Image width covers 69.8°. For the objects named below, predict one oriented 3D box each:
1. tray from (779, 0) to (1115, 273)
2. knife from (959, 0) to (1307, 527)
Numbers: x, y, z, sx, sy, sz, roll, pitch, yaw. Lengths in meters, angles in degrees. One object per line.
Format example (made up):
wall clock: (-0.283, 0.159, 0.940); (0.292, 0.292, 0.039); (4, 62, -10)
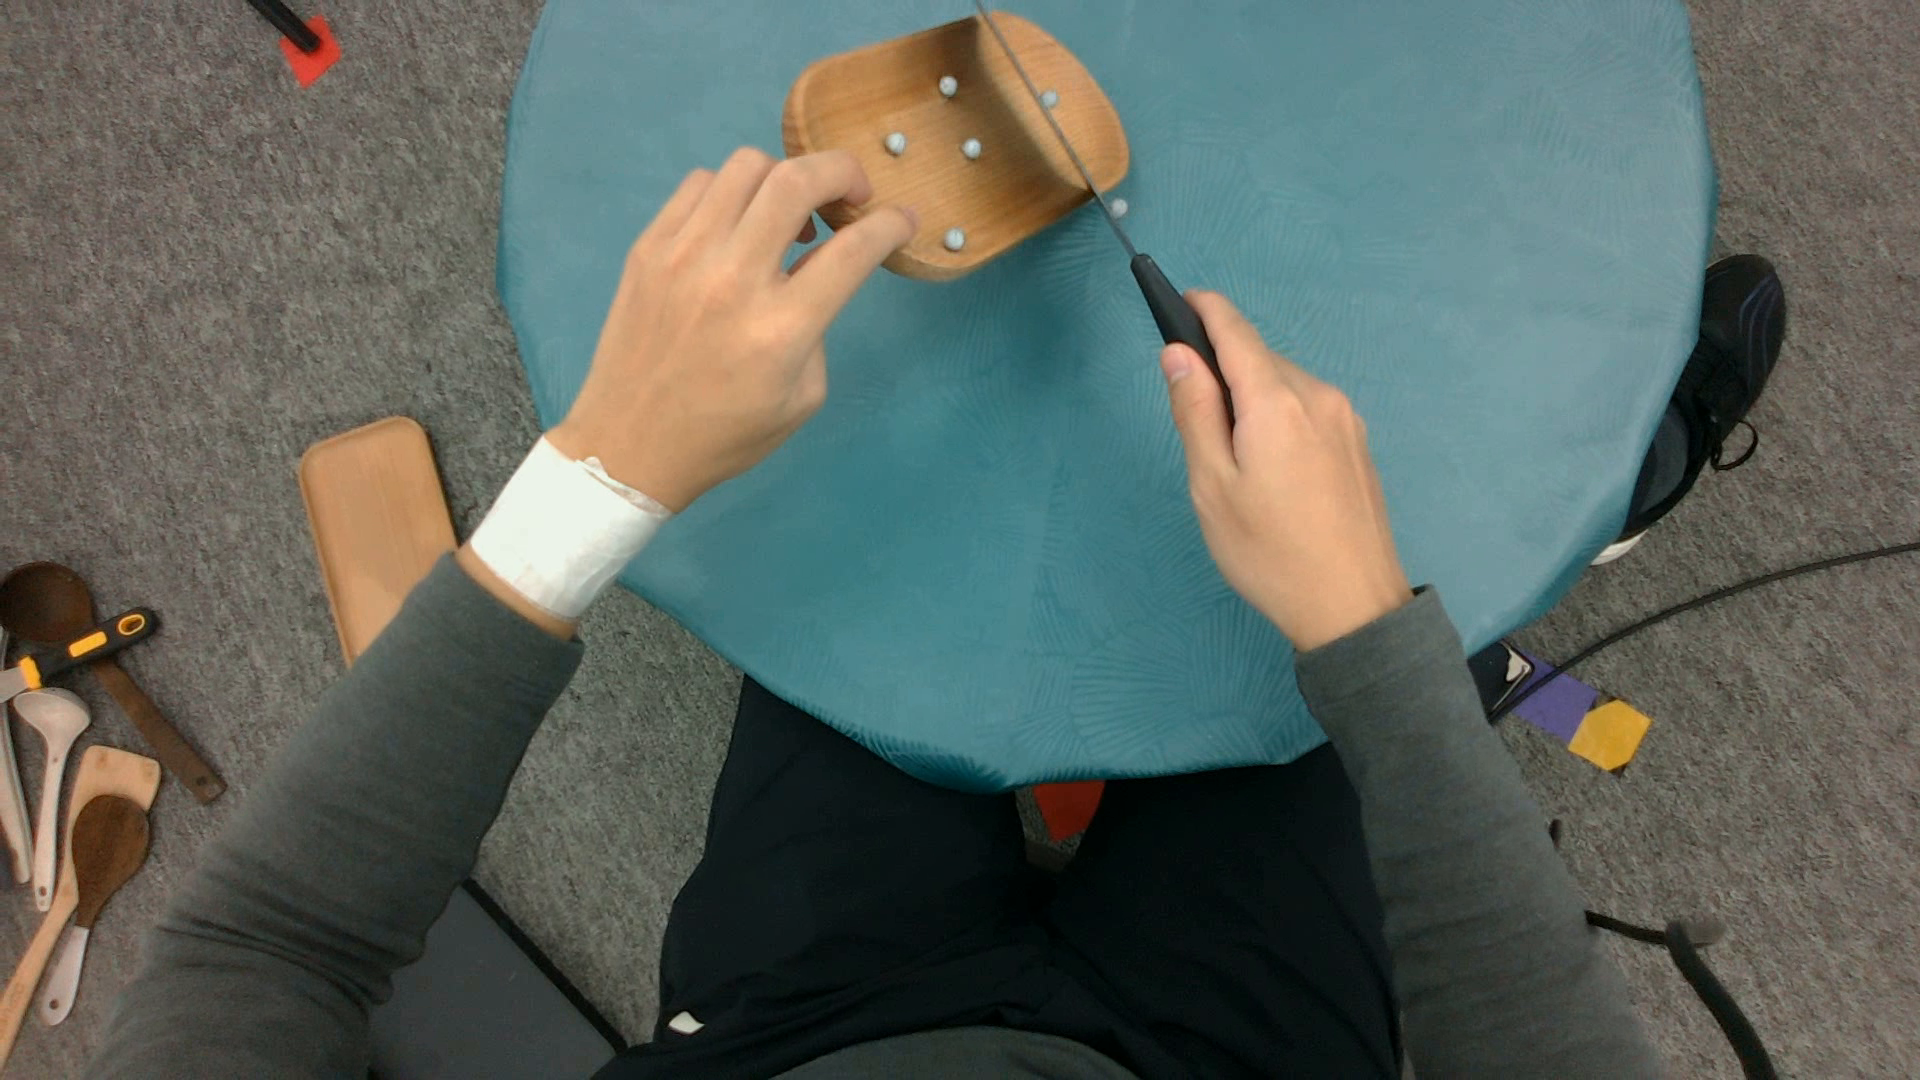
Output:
tray: (0.002, -0.184, 0.603); (0.020, 0.232, 0.101); (-32, 99, 40)
knife: (0.061, -0.137, 0.591); (0.021, 0.081, 0.302); (-32, 80, 10)
